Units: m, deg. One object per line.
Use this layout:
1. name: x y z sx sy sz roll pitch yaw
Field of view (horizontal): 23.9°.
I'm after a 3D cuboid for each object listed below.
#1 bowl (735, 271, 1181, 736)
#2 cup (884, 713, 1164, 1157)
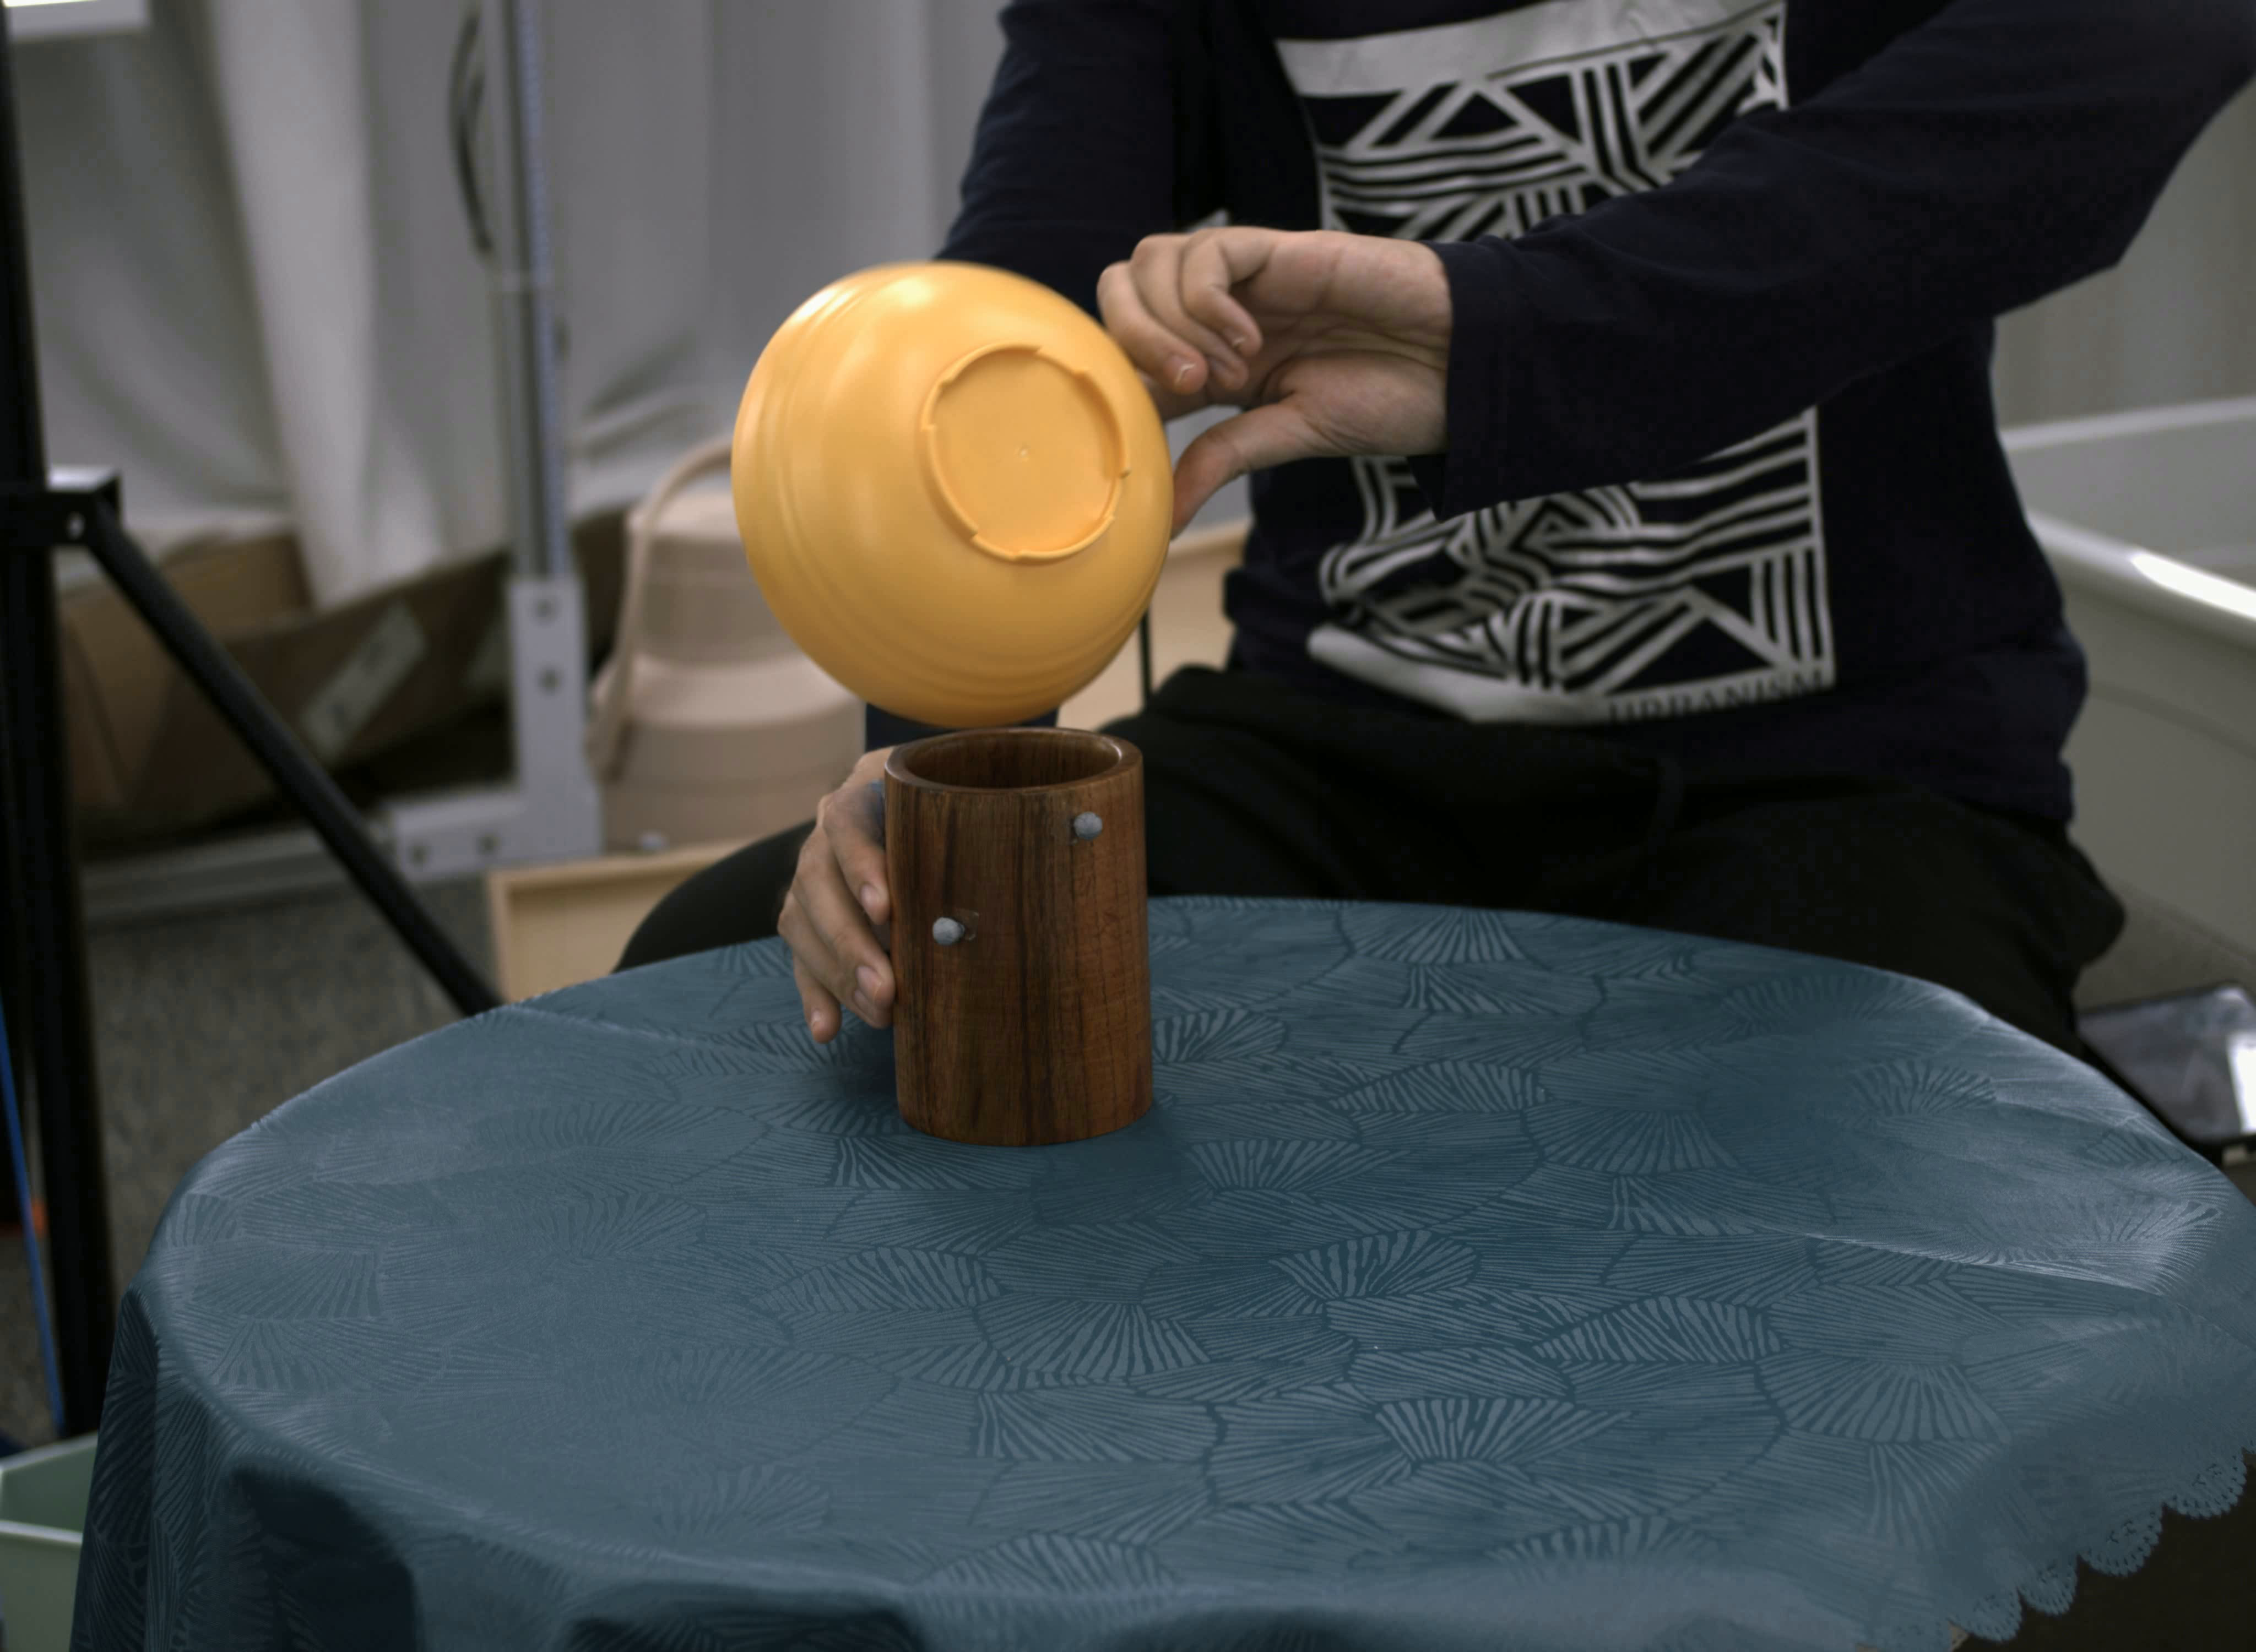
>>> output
1. bowl: -0.041 -0.104 1.592 0.142 0.146 0.061 -9 -11 -24
2. cup: -0.034 0.032 1.619 0.087 0.118 0.088 1 16 -2
